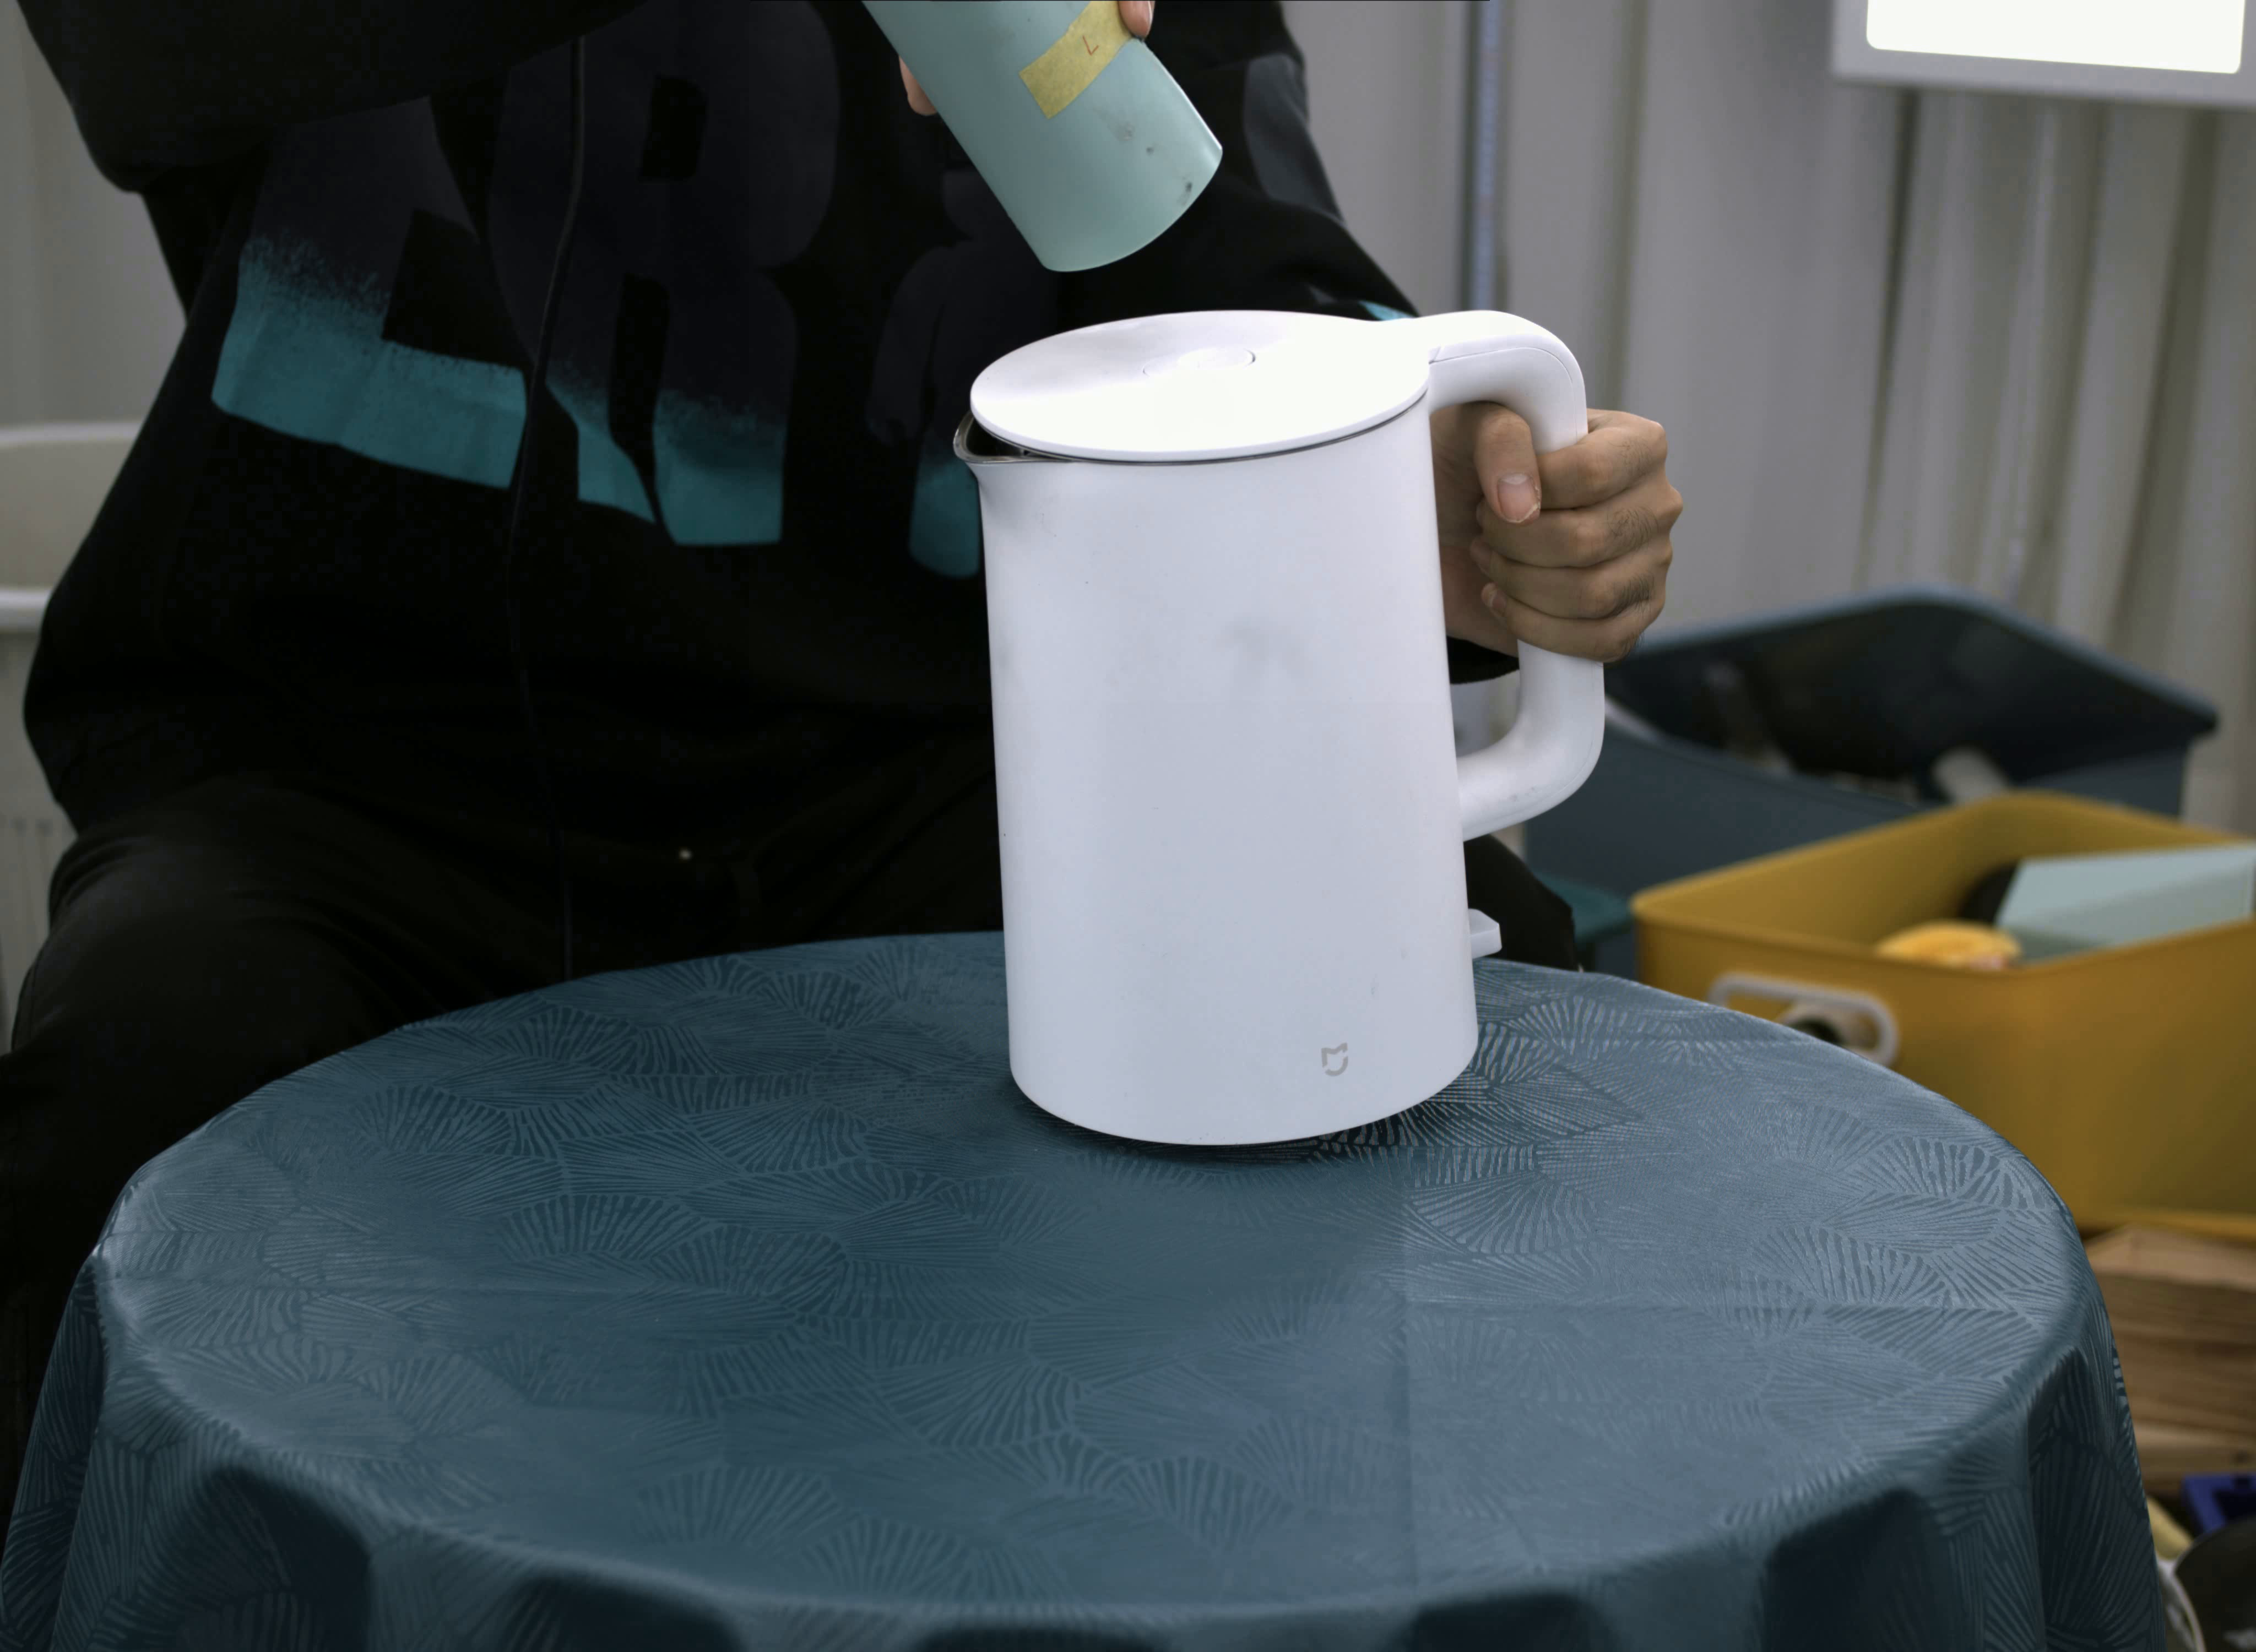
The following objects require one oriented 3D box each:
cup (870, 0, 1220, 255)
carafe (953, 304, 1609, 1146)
[{"bbox_3d":[-0.035,-0.242,1.582,0.066,0.134,0.066,-27,29,17],"label":"cup"},{"bbox_3d":[0.055,-0.039,1.674,0.213,0.243,0.150,-14,25,-21],"label":"carafe"}]
